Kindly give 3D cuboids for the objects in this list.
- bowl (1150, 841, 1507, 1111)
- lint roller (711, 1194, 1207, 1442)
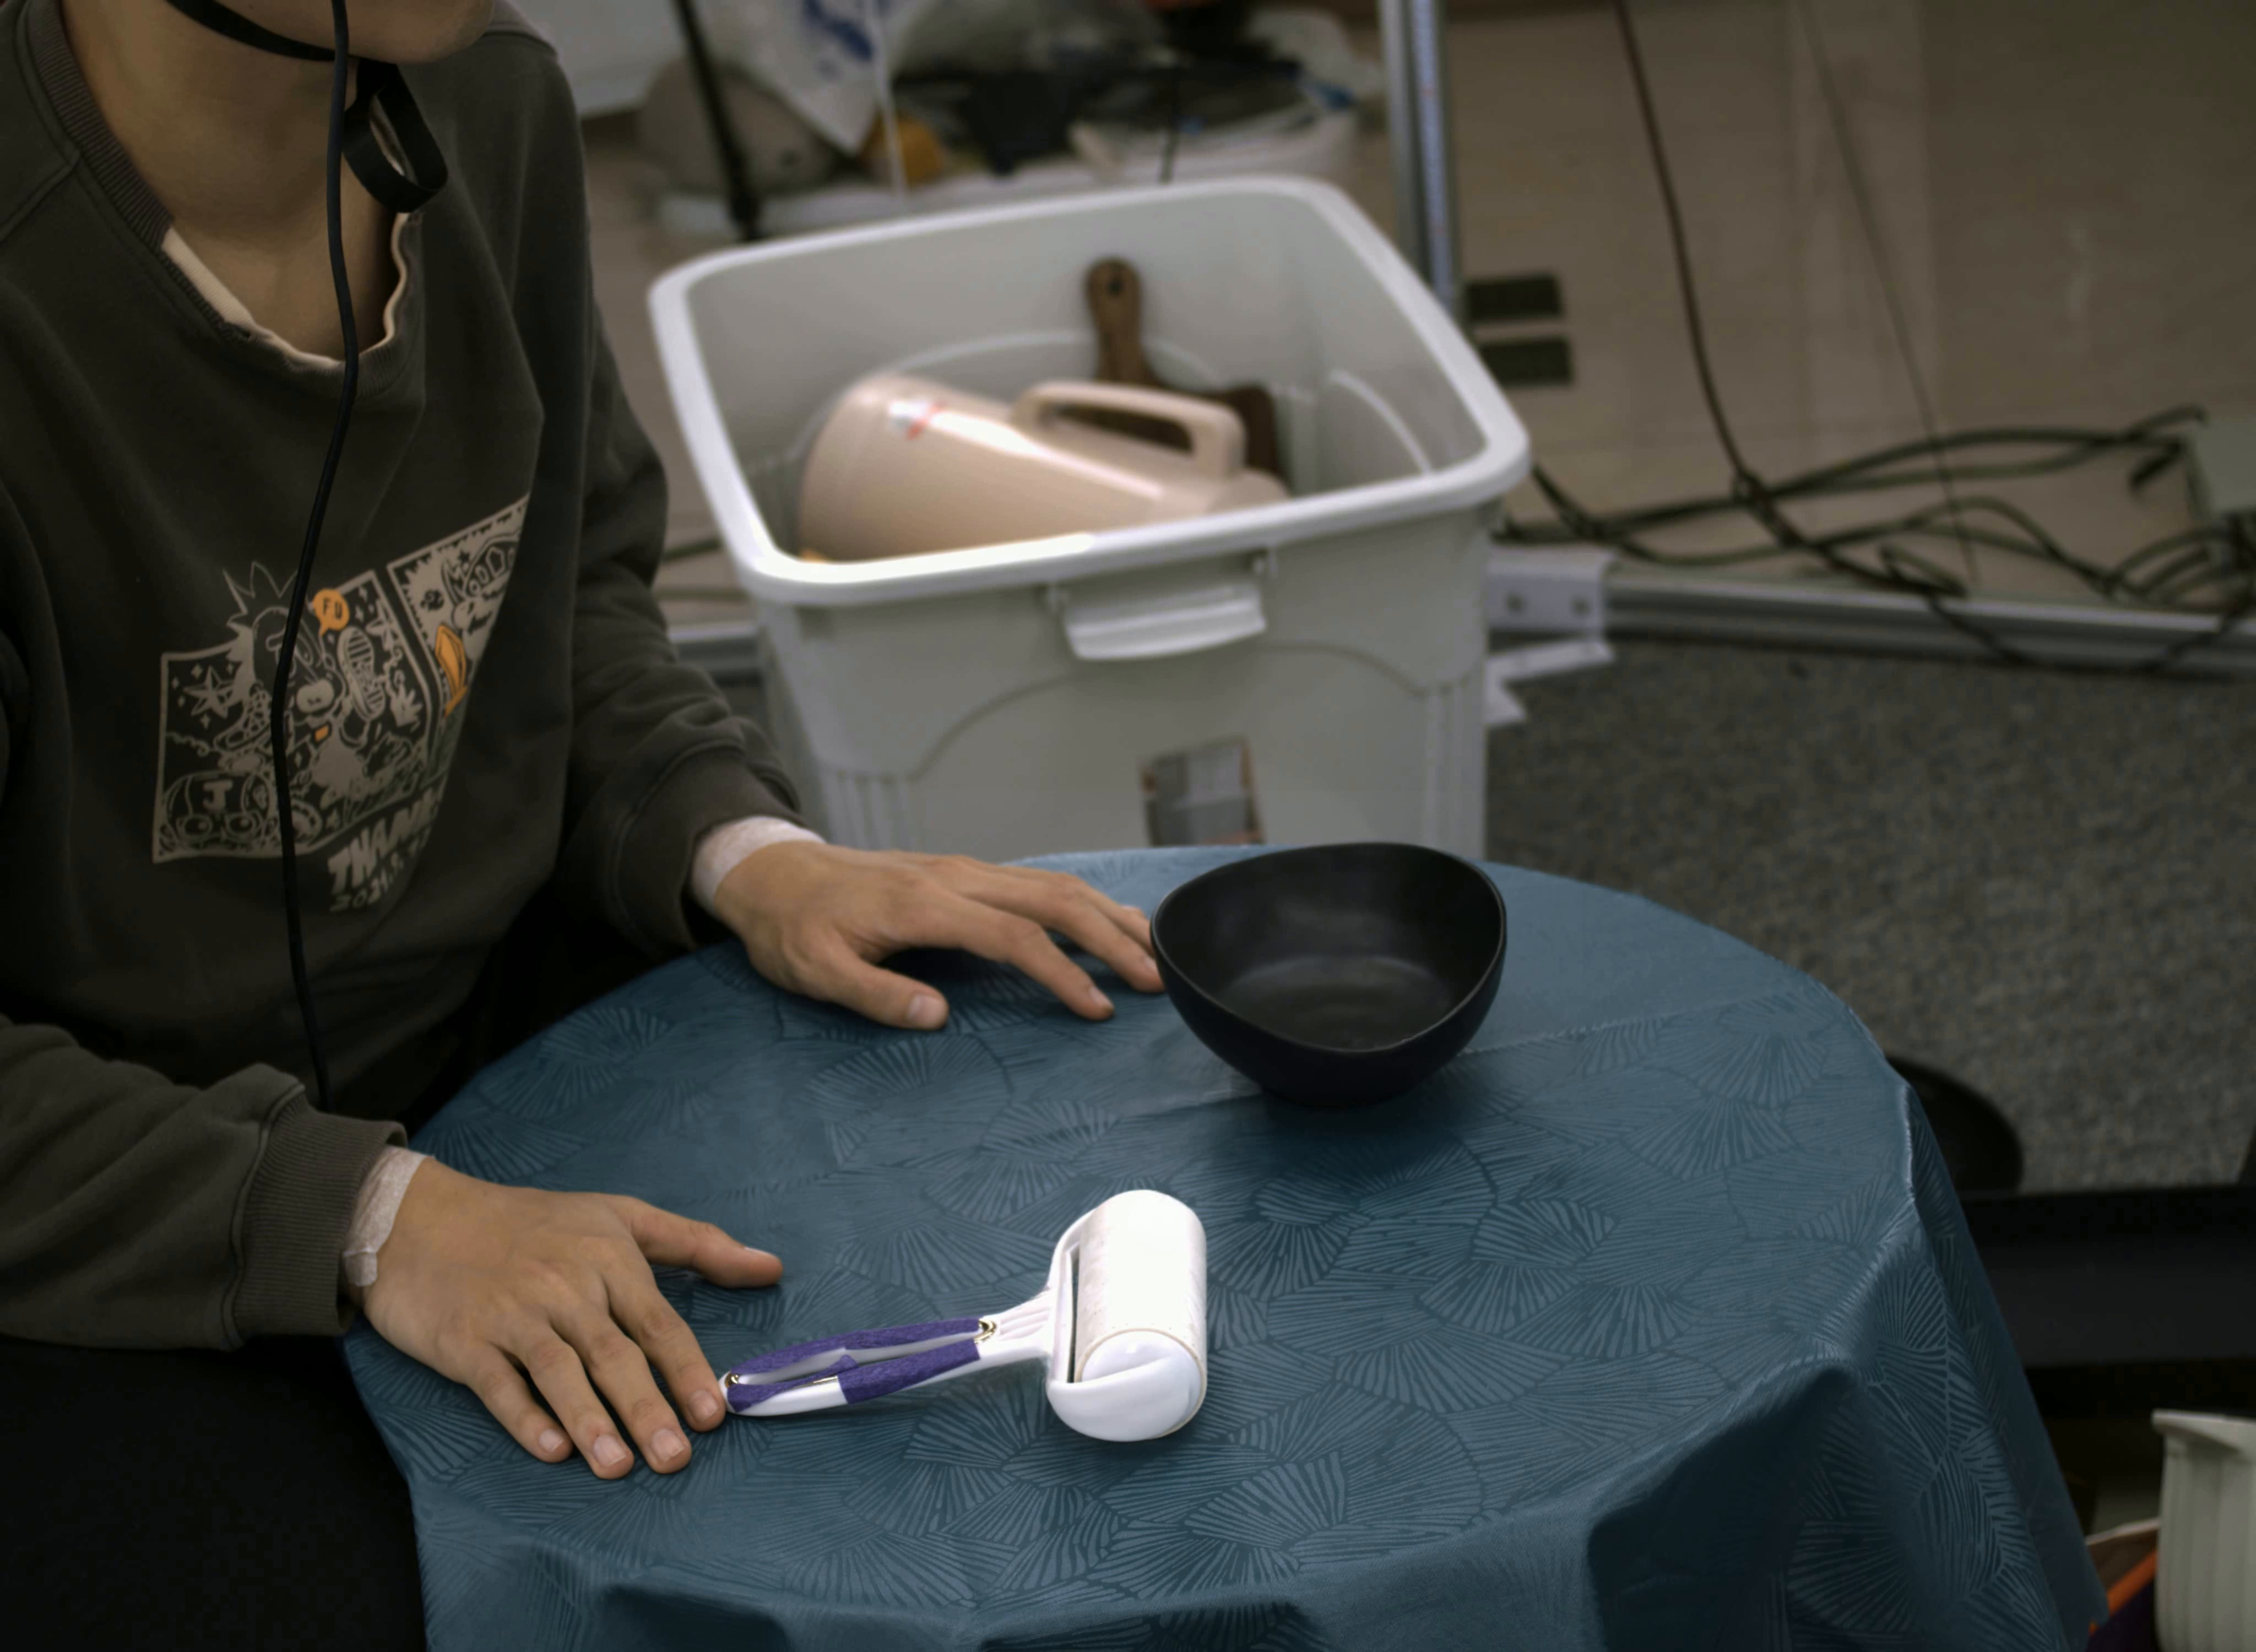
[{"bbox_3d":[0.082,0.066,2.207,0.137,0.068,0.168,-12,27,-10],"label":"bowl"},{"bbox_3d":[-0.060,0.177,2.023,0.180,0.051,0.131,-2,26,4],"label":"lint roller"}]
